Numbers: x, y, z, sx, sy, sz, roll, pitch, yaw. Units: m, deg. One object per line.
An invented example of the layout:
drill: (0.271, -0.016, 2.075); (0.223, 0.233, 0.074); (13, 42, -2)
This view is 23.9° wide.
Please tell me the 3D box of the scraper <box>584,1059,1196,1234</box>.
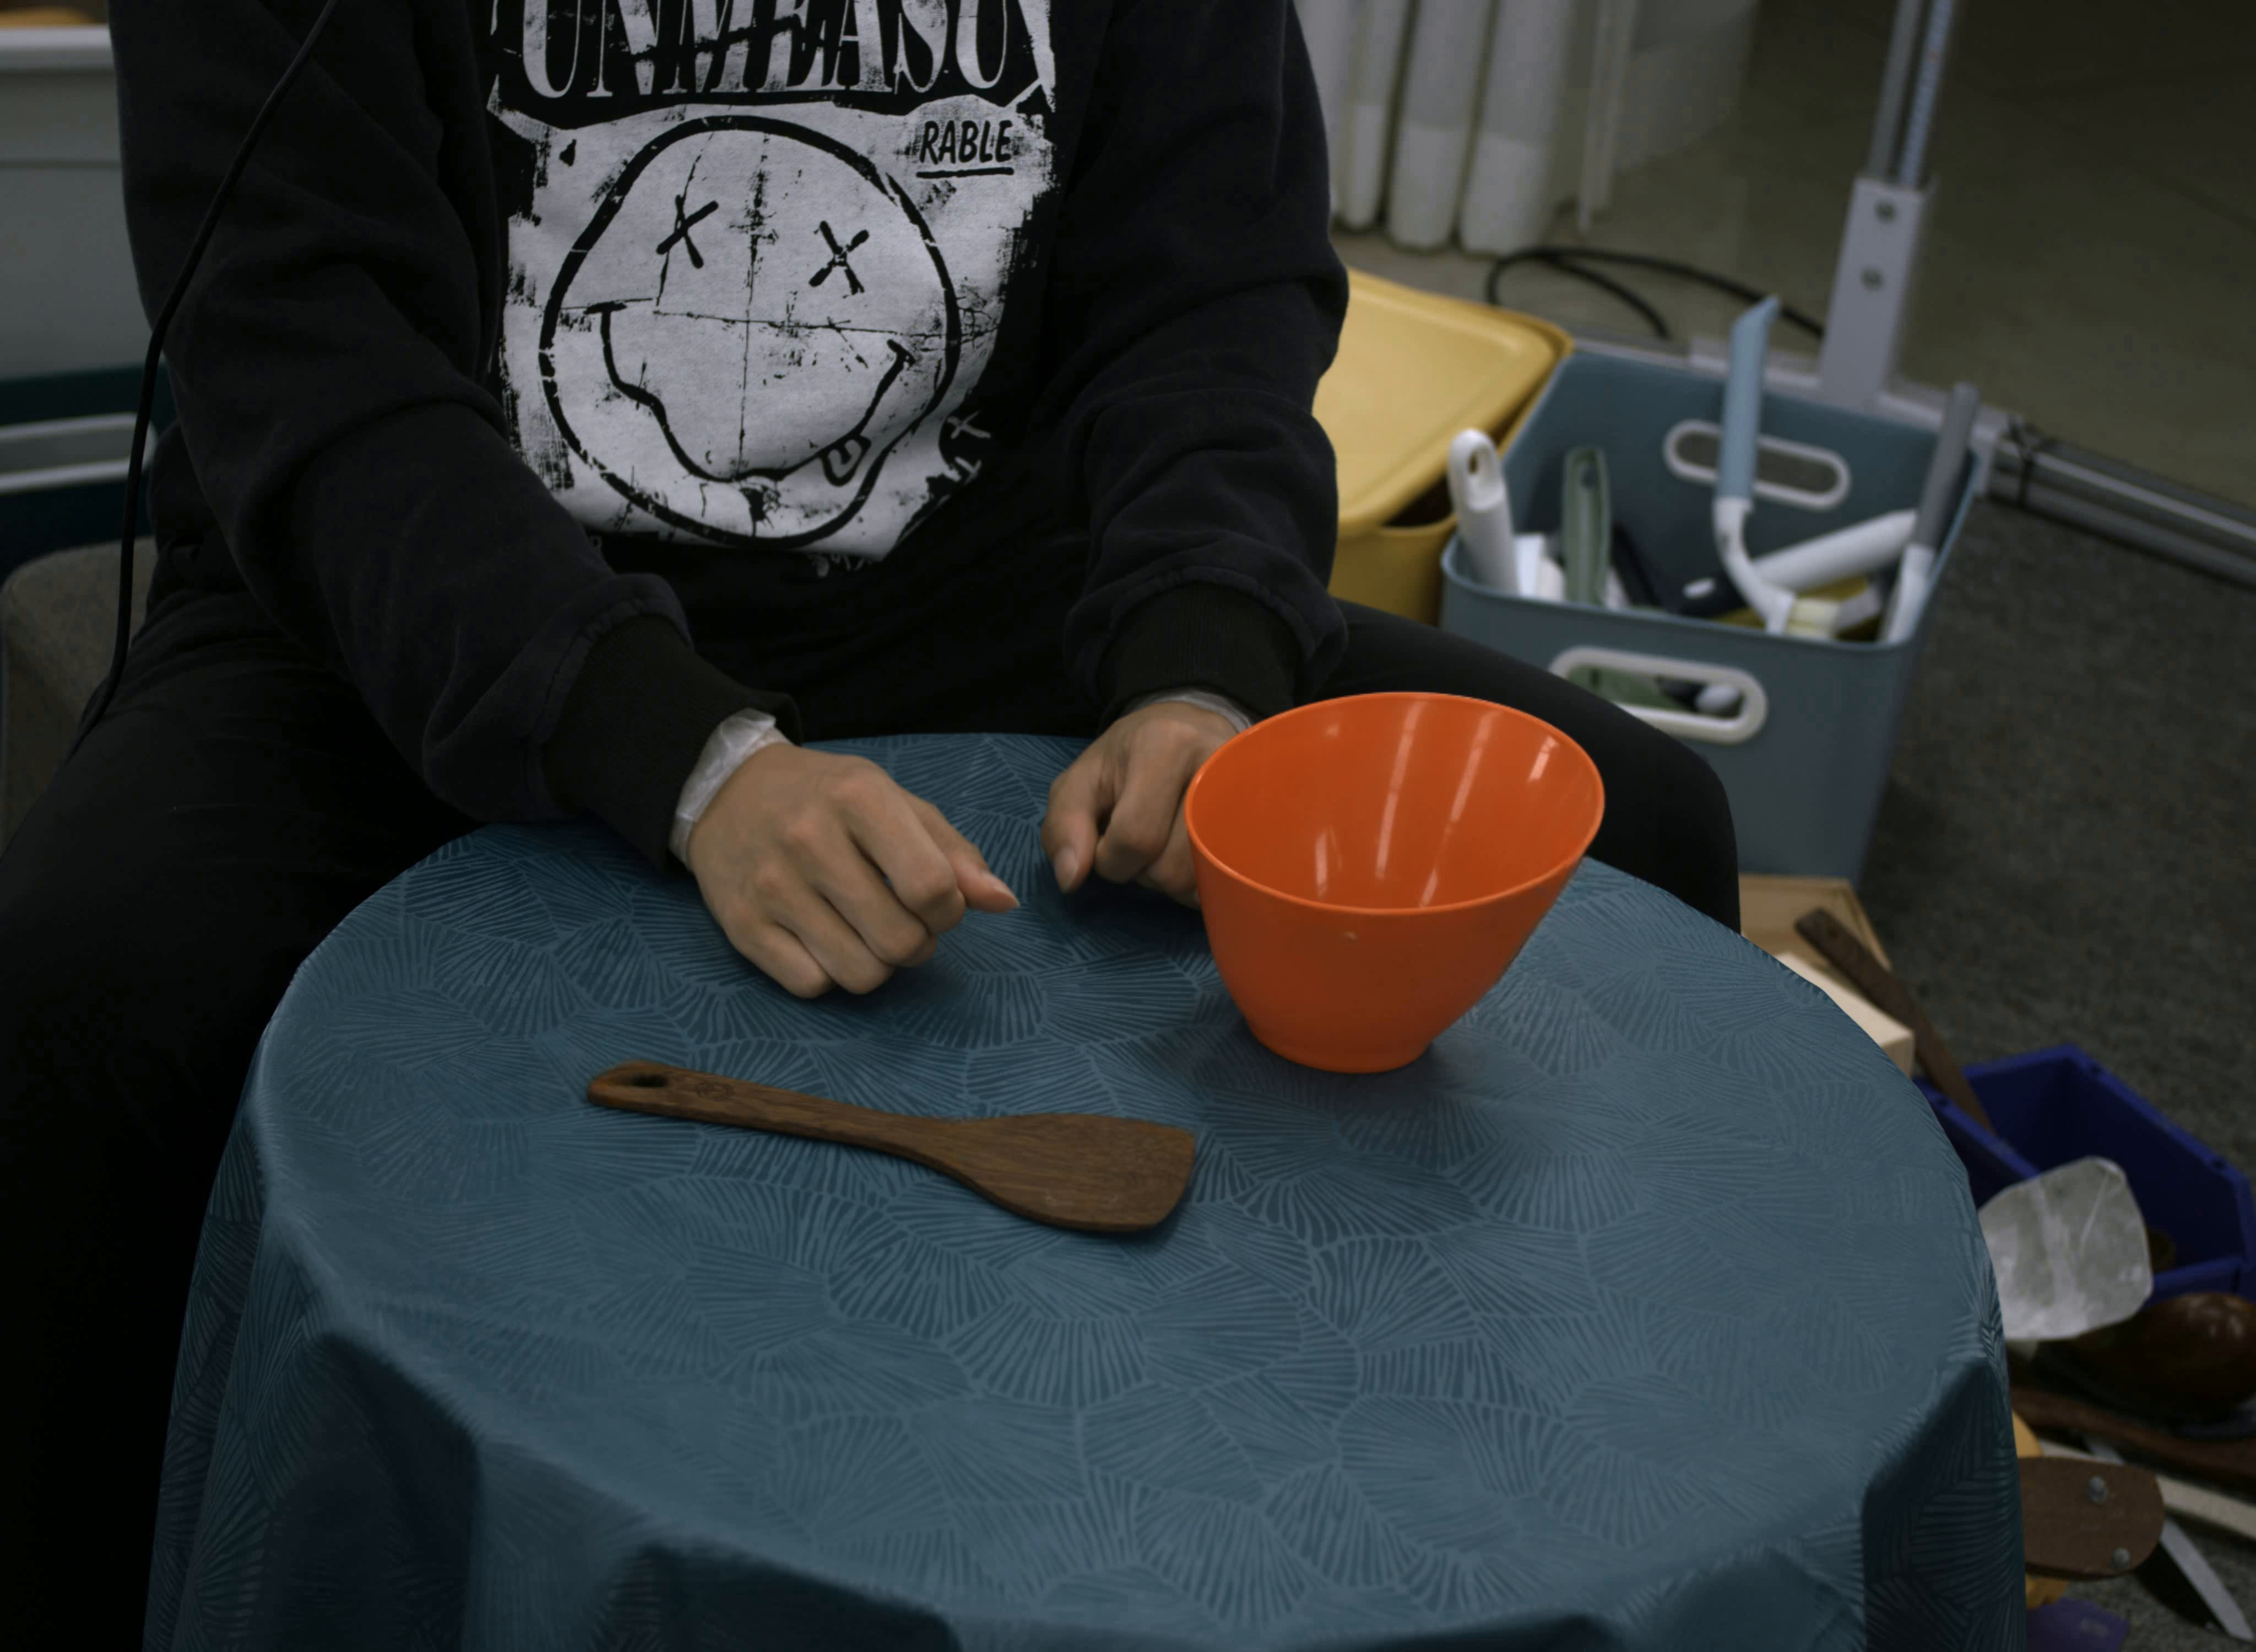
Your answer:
scraper: (-0.082, 0.105, 1.811); (0.211, 0.011, 0.076); (10, 26, 8)

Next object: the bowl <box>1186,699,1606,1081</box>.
bowl: (0.091, 0.029, 1.898); (0.147, 0.104, 0.149); (5, 27, -3)
